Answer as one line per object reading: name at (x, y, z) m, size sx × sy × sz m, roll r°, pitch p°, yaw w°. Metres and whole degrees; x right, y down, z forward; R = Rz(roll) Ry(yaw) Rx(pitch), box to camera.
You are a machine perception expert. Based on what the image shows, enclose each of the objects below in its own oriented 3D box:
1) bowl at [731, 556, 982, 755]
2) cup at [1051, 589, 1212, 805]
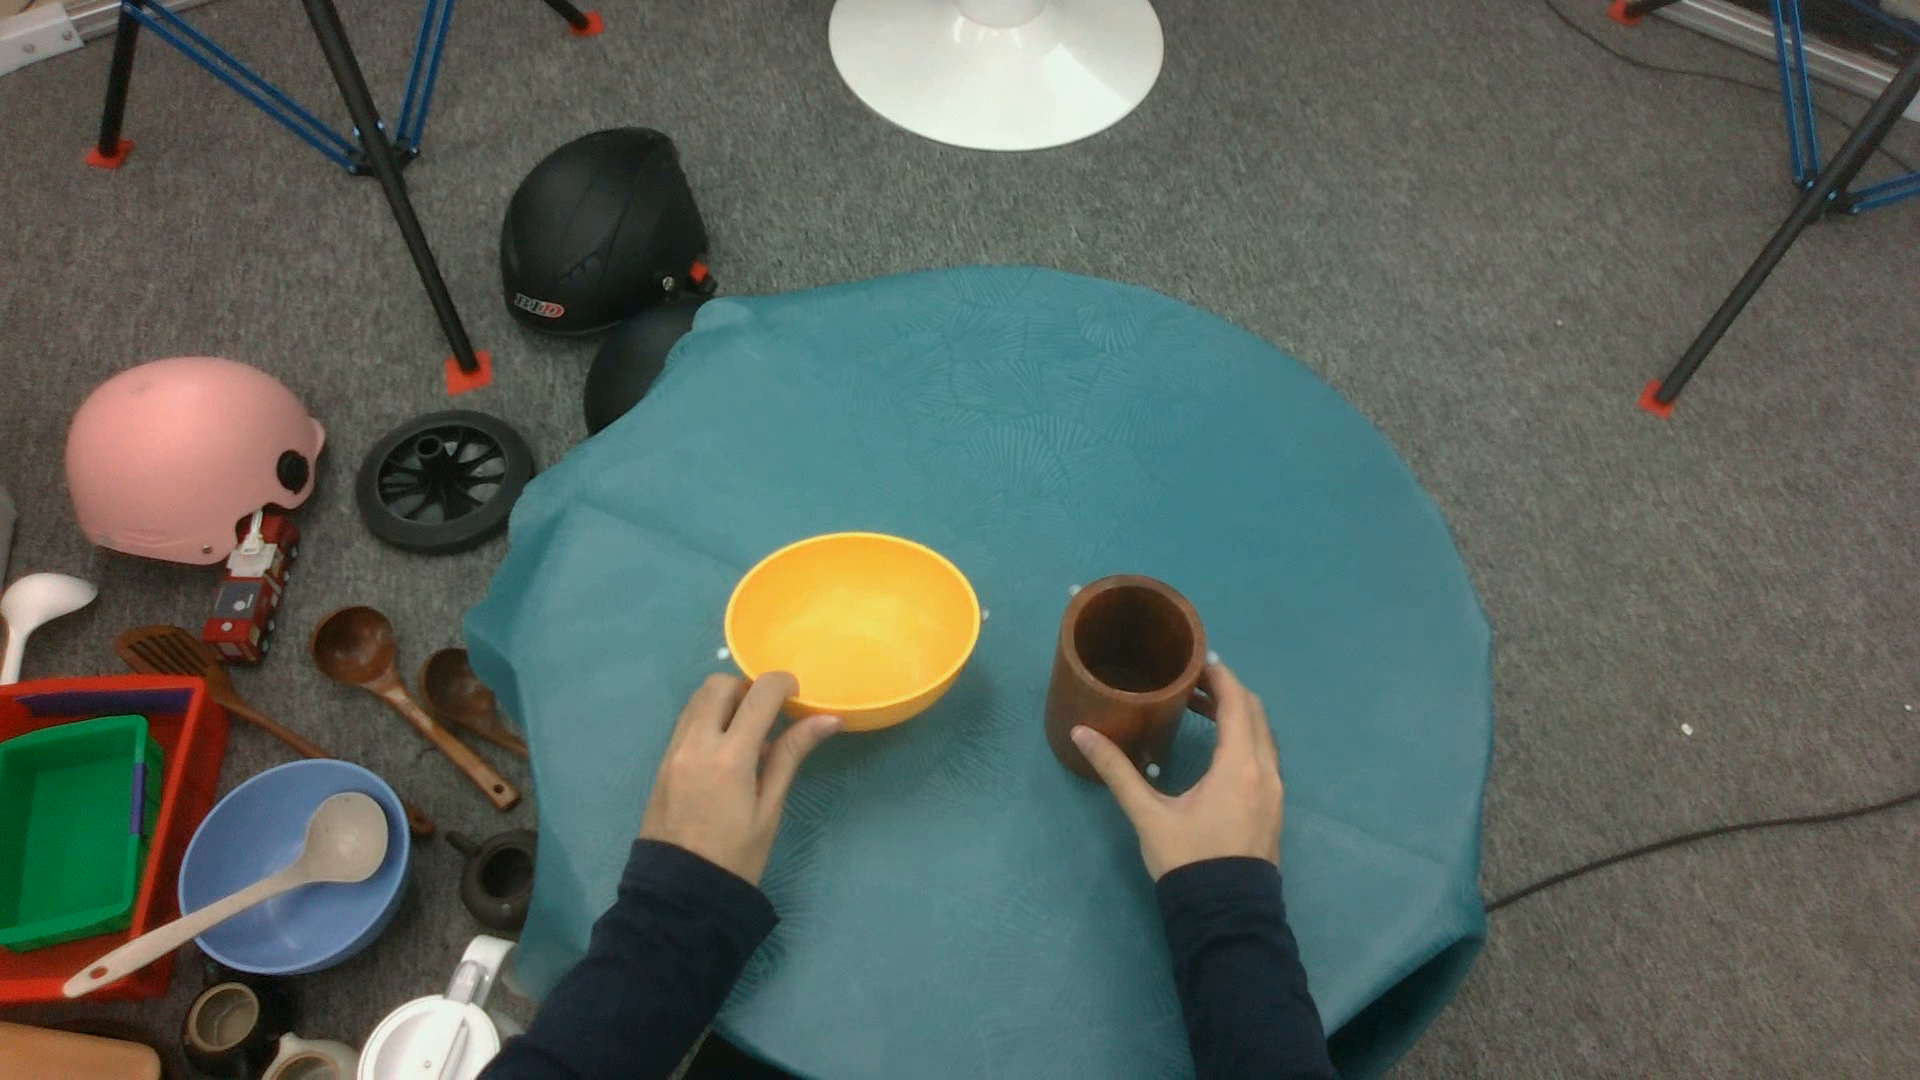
bowl at (-0.059, 0.078, 0.812) m, size 0.145 × 0.060 × 0.146 m, roll 0°, pitch 41°, yaw 0°
cup at (0.096, 0.092, 0.787) m, size 0.088 × 0.118 × 0.088 m, roll -1°, pitch 56°, yaw 2°
